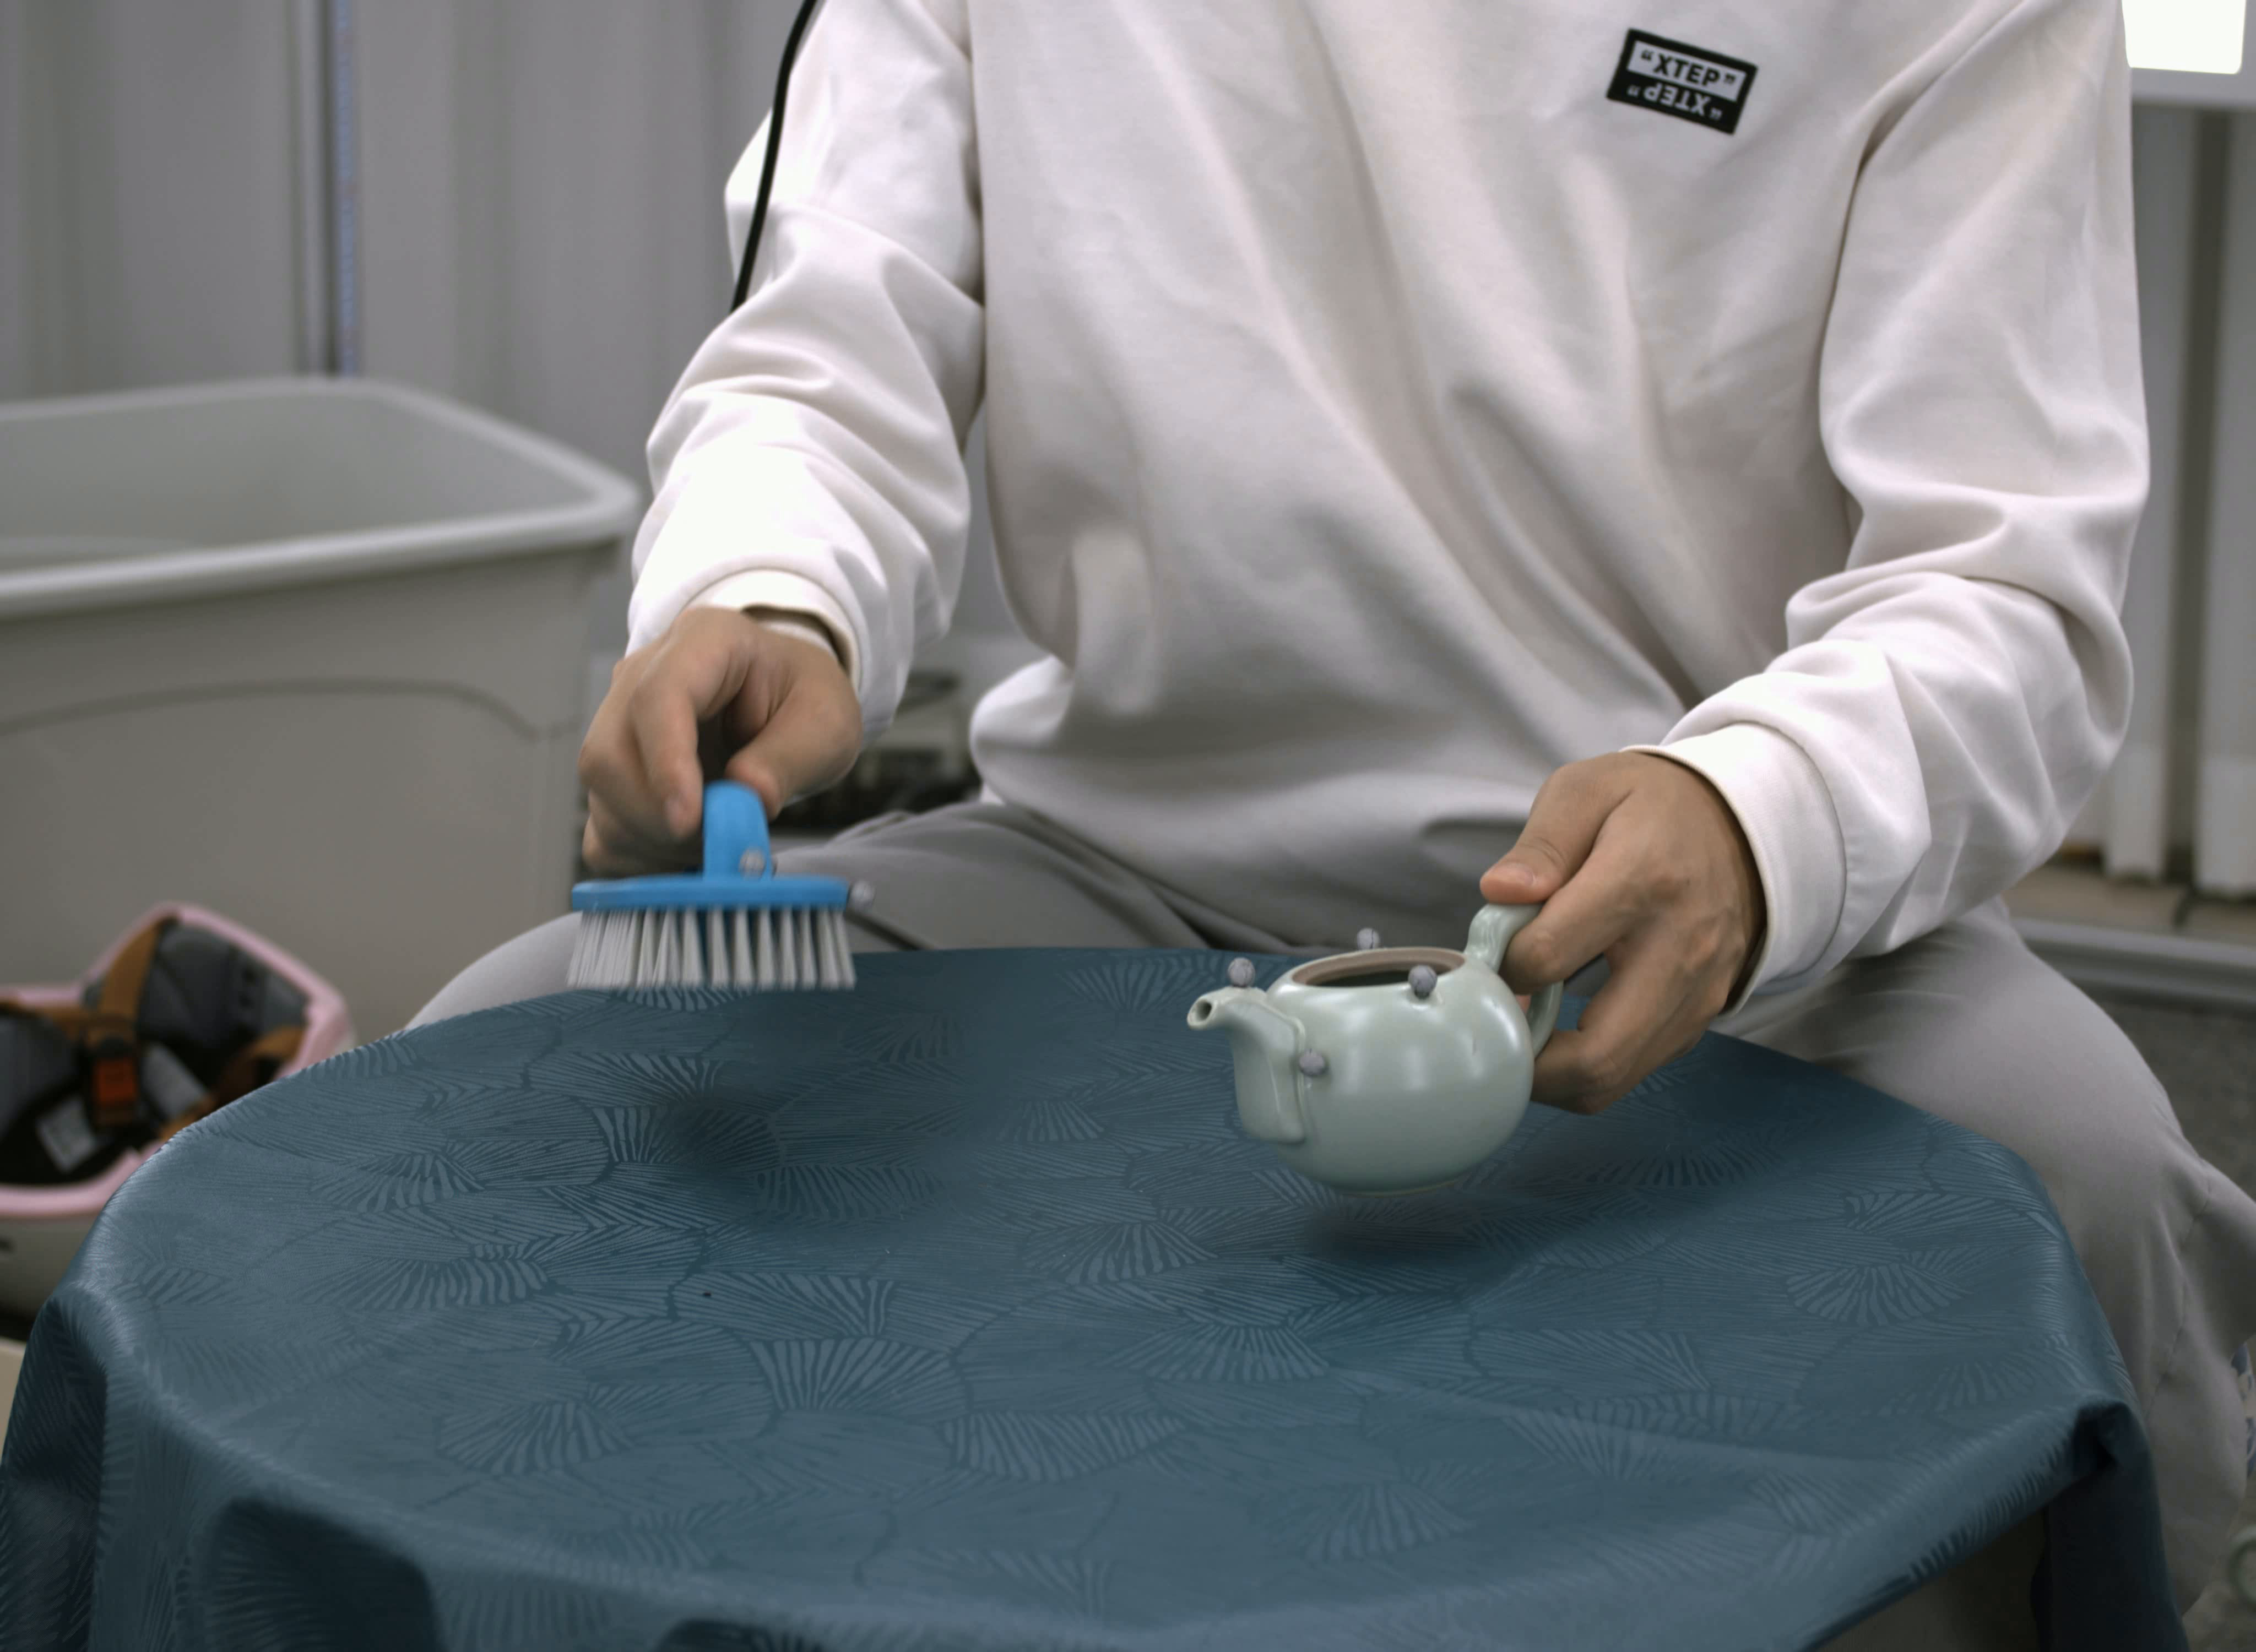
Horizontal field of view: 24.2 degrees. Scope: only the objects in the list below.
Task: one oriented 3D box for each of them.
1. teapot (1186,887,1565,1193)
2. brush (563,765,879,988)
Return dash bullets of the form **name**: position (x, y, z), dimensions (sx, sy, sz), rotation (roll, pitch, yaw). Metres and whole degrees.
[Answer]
- **teapot**: position (0.079, 0.070, 1.587), dimensions (0.144, 0.075, 0.087), rotation (-18, 14, -35)
- **brush**: position (-0.131, 0.014, 1.654), dimensions (0.084, 0.064, 0.141), rotation (-6, -2, -19)
